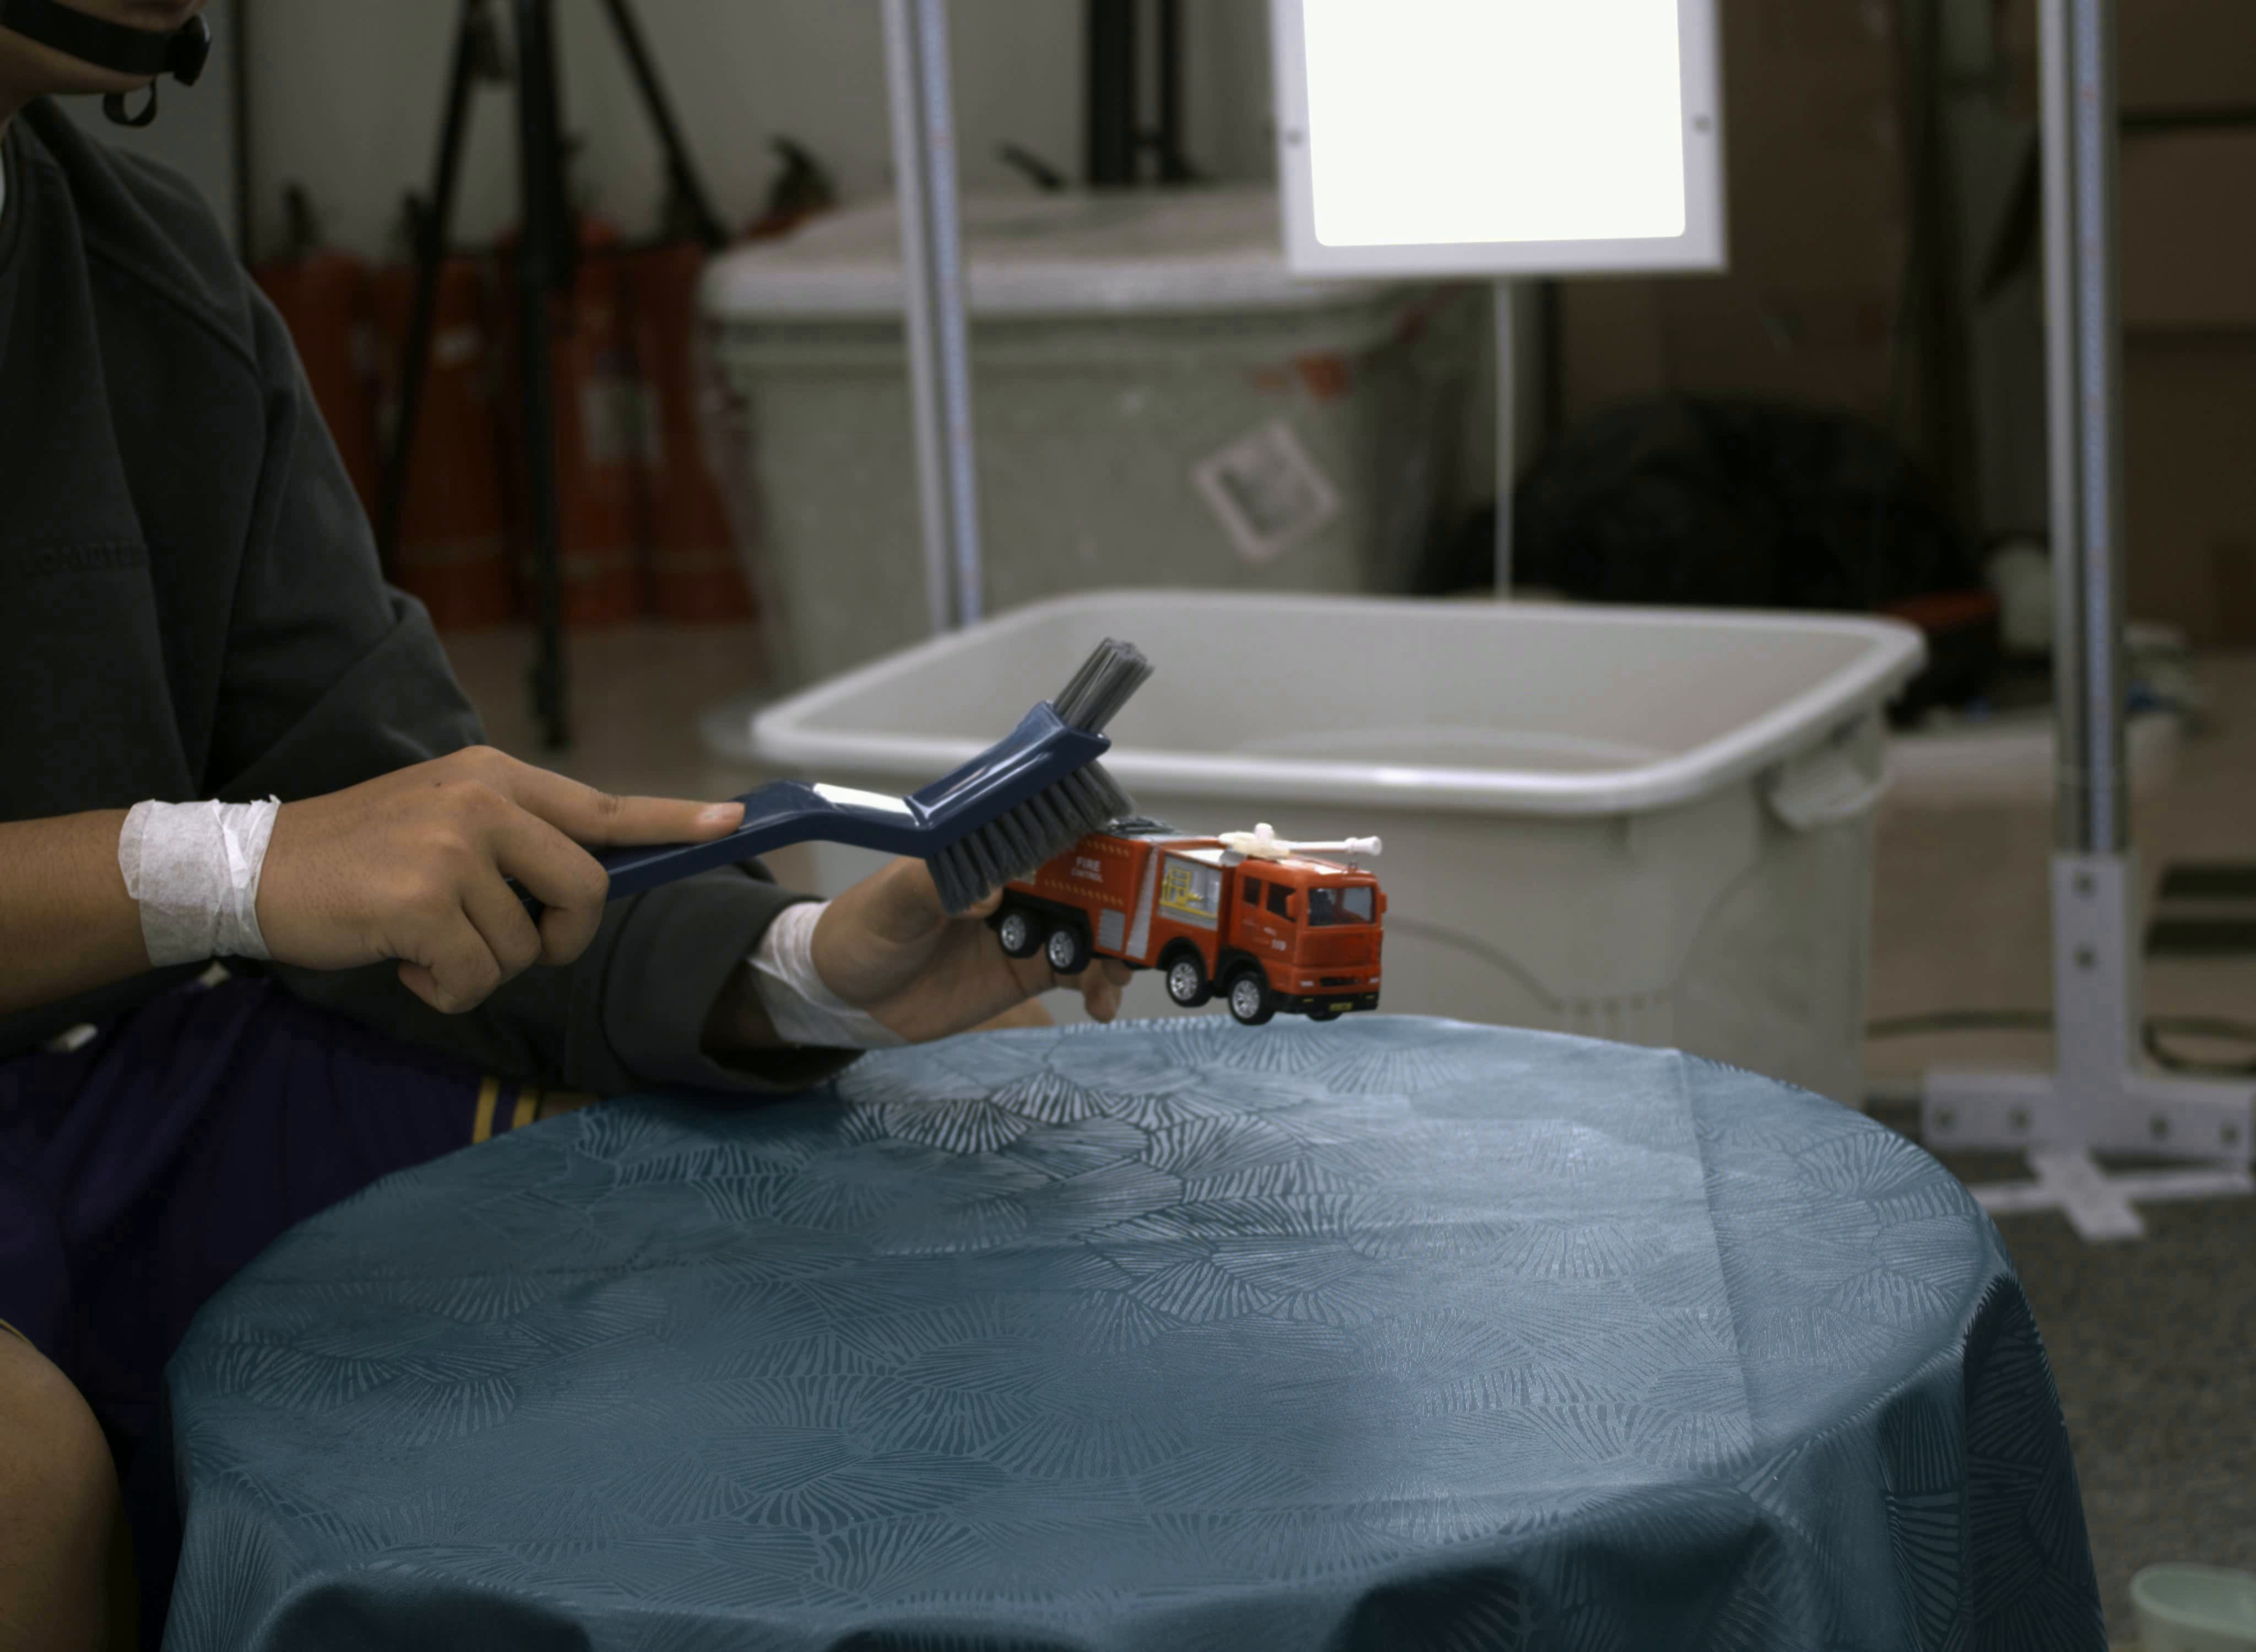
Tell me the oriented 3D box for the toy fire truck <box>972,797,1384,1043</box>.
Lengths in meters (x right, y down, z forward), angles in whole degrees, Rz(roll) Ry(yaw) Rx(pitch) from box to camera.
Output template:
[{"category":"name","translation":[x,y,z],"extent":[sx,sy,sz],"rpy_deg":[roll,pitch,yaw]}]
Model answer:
[{"category":"toy fire truck","translation":[0.018,0.028,1.884],"extent":[0.052,0.070,0.171],"rpy_deg":[-1,10,-43]}]

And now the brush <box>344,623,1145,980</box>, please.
[{"category":"brush","translation":[-0.127,-0.006,1.841],"extent":[0.269,0.096,0.034],"rpy_deg":[-10,34,-16]}]
